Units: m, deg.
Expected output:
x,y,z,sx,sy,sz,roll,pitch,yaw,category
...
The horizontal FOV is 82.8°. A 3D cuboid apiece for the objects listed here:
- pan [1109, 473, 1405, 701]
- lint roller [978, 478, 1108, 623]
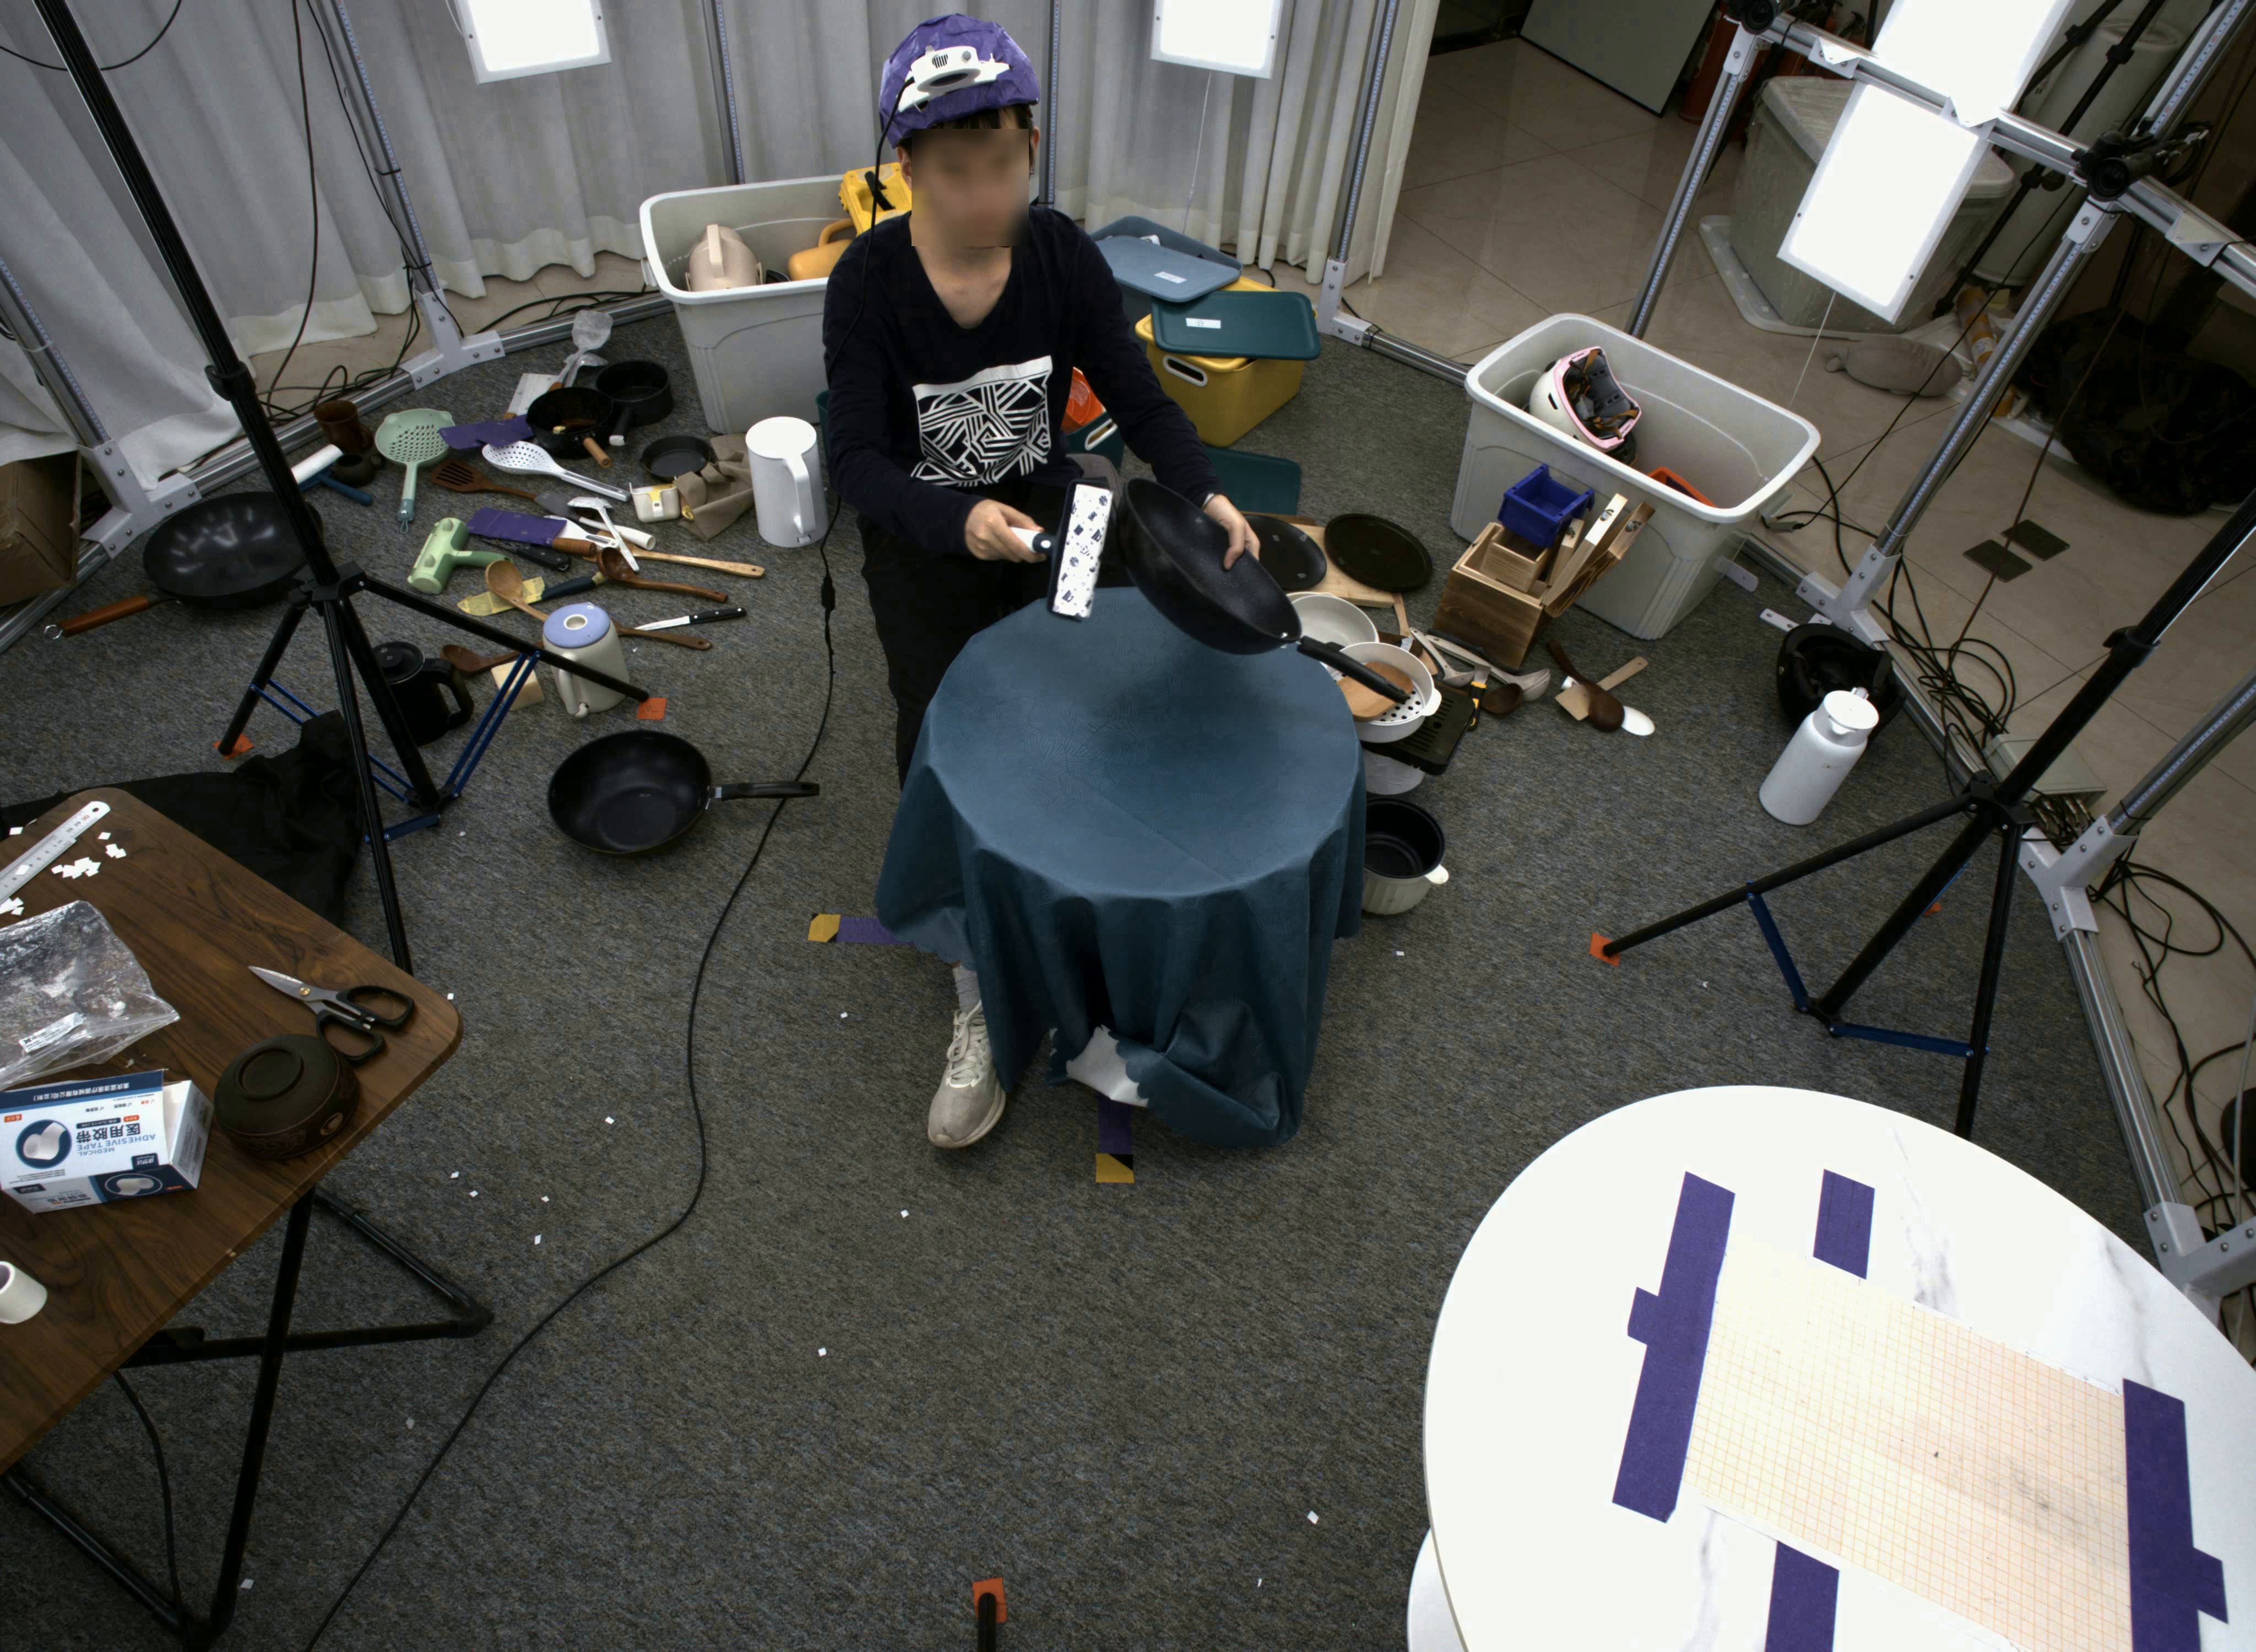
x,y,z,sx,sy,sz,roll,pitch,yaw,category
0.157,-0.287,1.717,0.474,0.110,0.316,38,27,-9,pan
-0.126,-0.370,1.682,0.050,0.175,0.250,3,13,-42,lint roller
